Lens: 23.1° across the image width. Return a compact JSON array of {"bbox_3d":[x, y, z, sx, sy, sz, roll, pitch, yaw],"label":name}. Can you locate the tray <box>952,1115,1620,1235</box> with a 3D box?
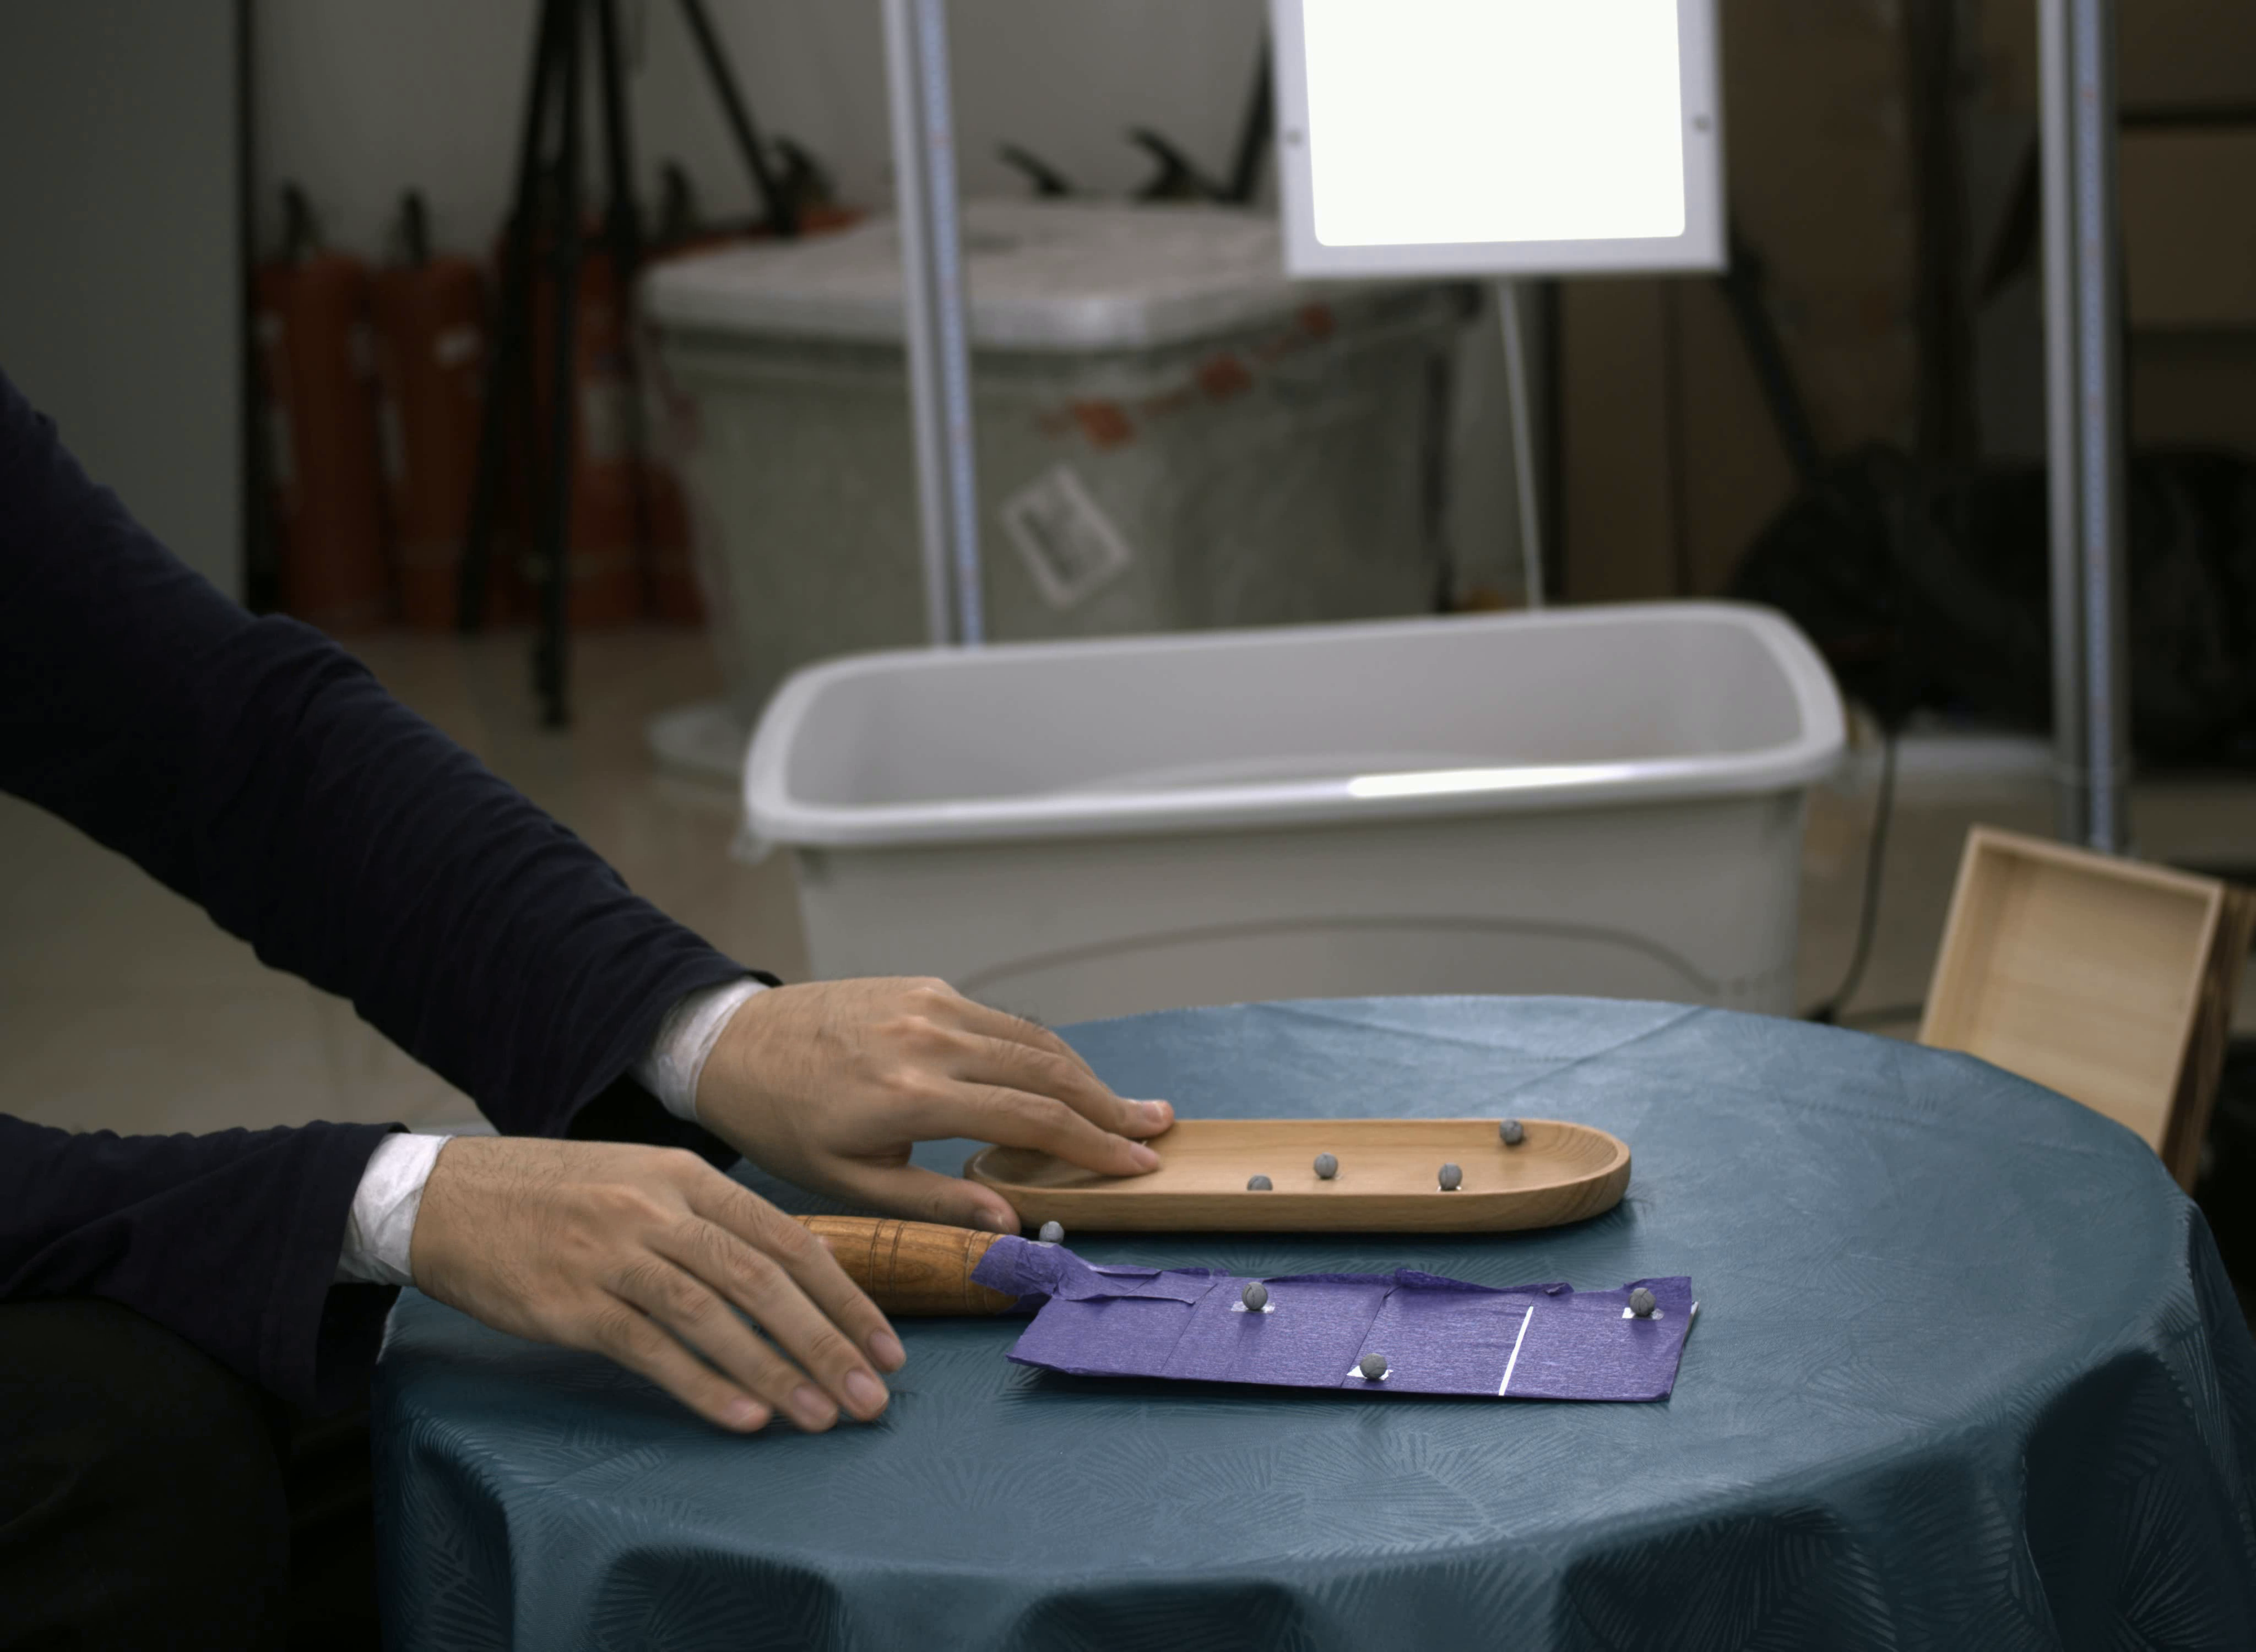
[{"bbox_3d":[0.053,0.119,1.874,0.233,0.020,0.100,-3,10,16],"label":"tray"}]

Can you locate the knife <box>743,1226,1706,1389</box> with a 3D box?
[{"bbox_3d":[0.022,0.152,1.733,0.318,0.032,0.102,-1,14,16],"label":"knife"}]
